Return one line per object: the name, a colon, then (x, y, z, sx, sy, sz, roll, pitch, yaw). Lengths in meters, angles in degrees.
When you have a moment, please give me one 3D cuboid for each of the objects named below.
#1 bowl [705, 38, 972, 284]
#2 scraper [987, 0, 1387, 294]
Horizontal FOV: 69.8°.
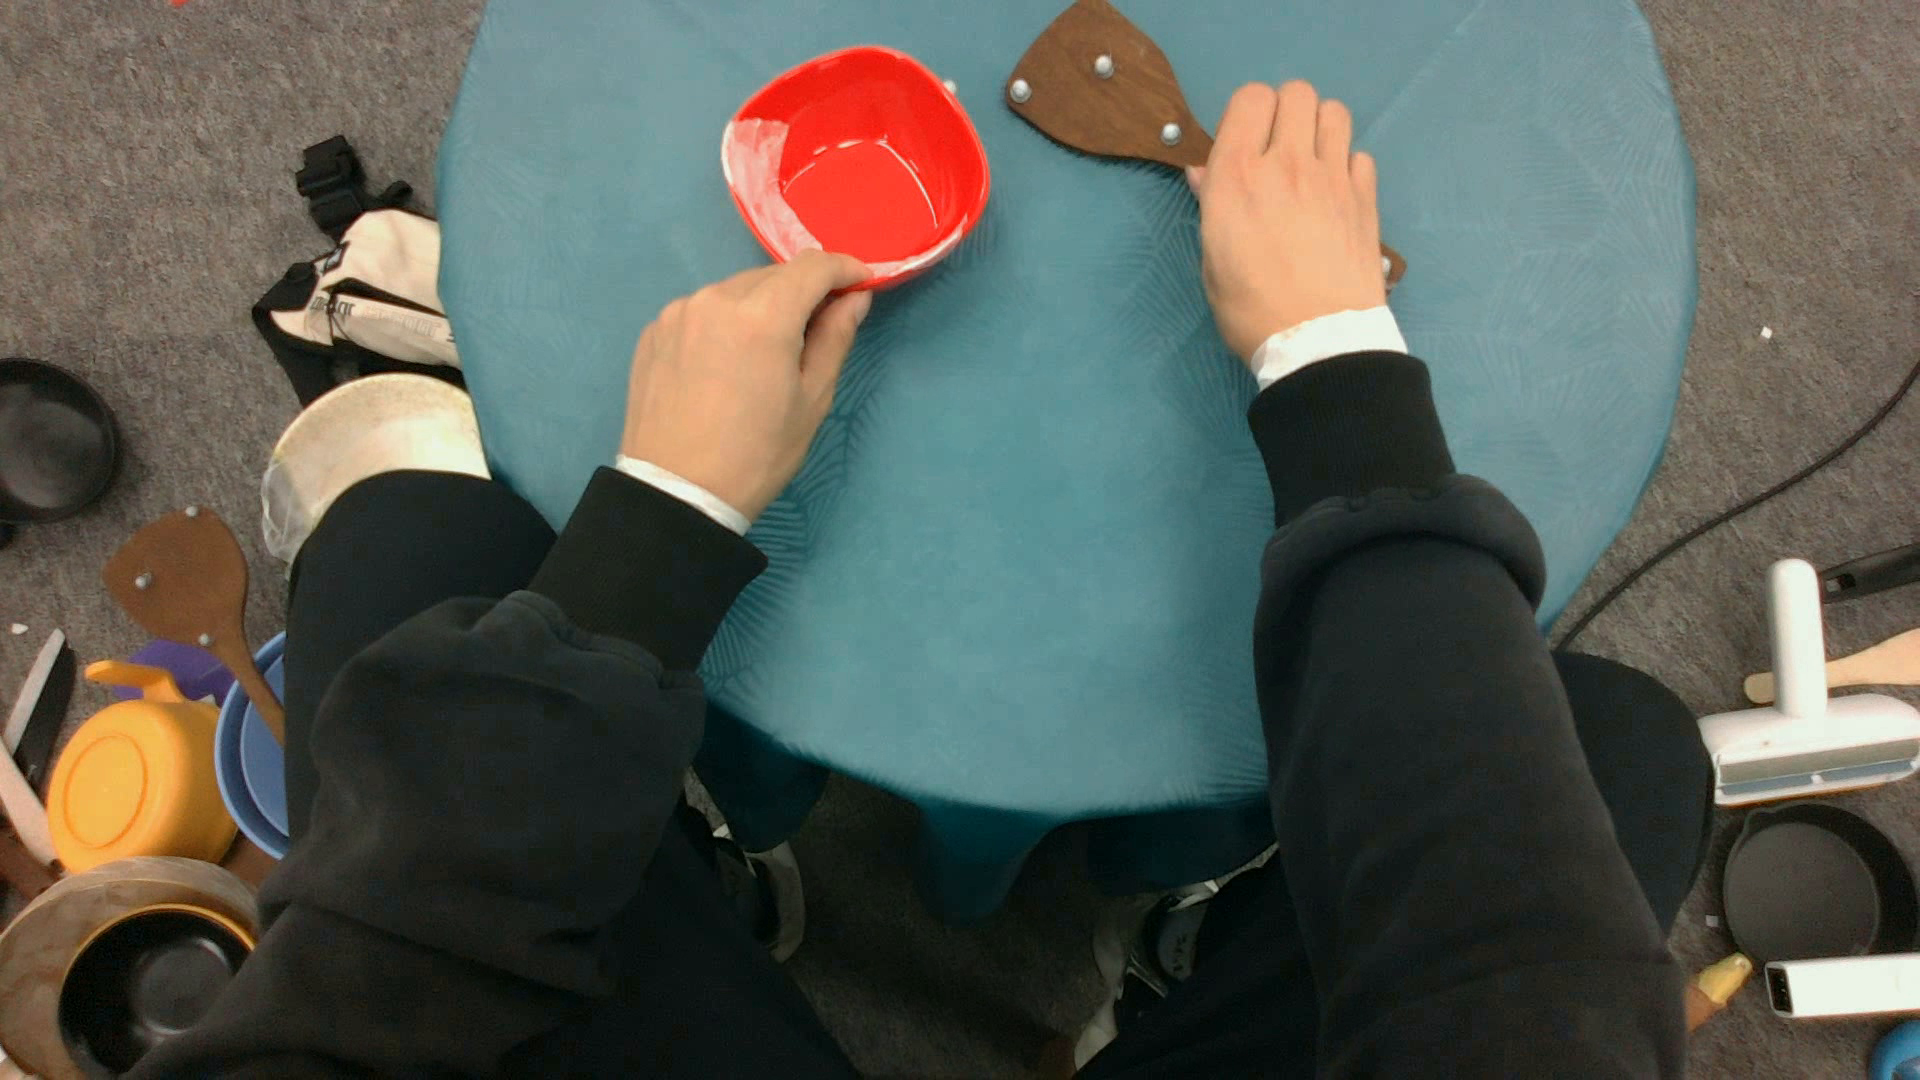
bowl: (-0.054, -0.164, 0.629, 0.119, 0.051, 0.119, 1, 73, -3)
scraper: (0.110, -0.184, 0.654, 0.211, 0.011, 0.076, 39, 80, 13)
